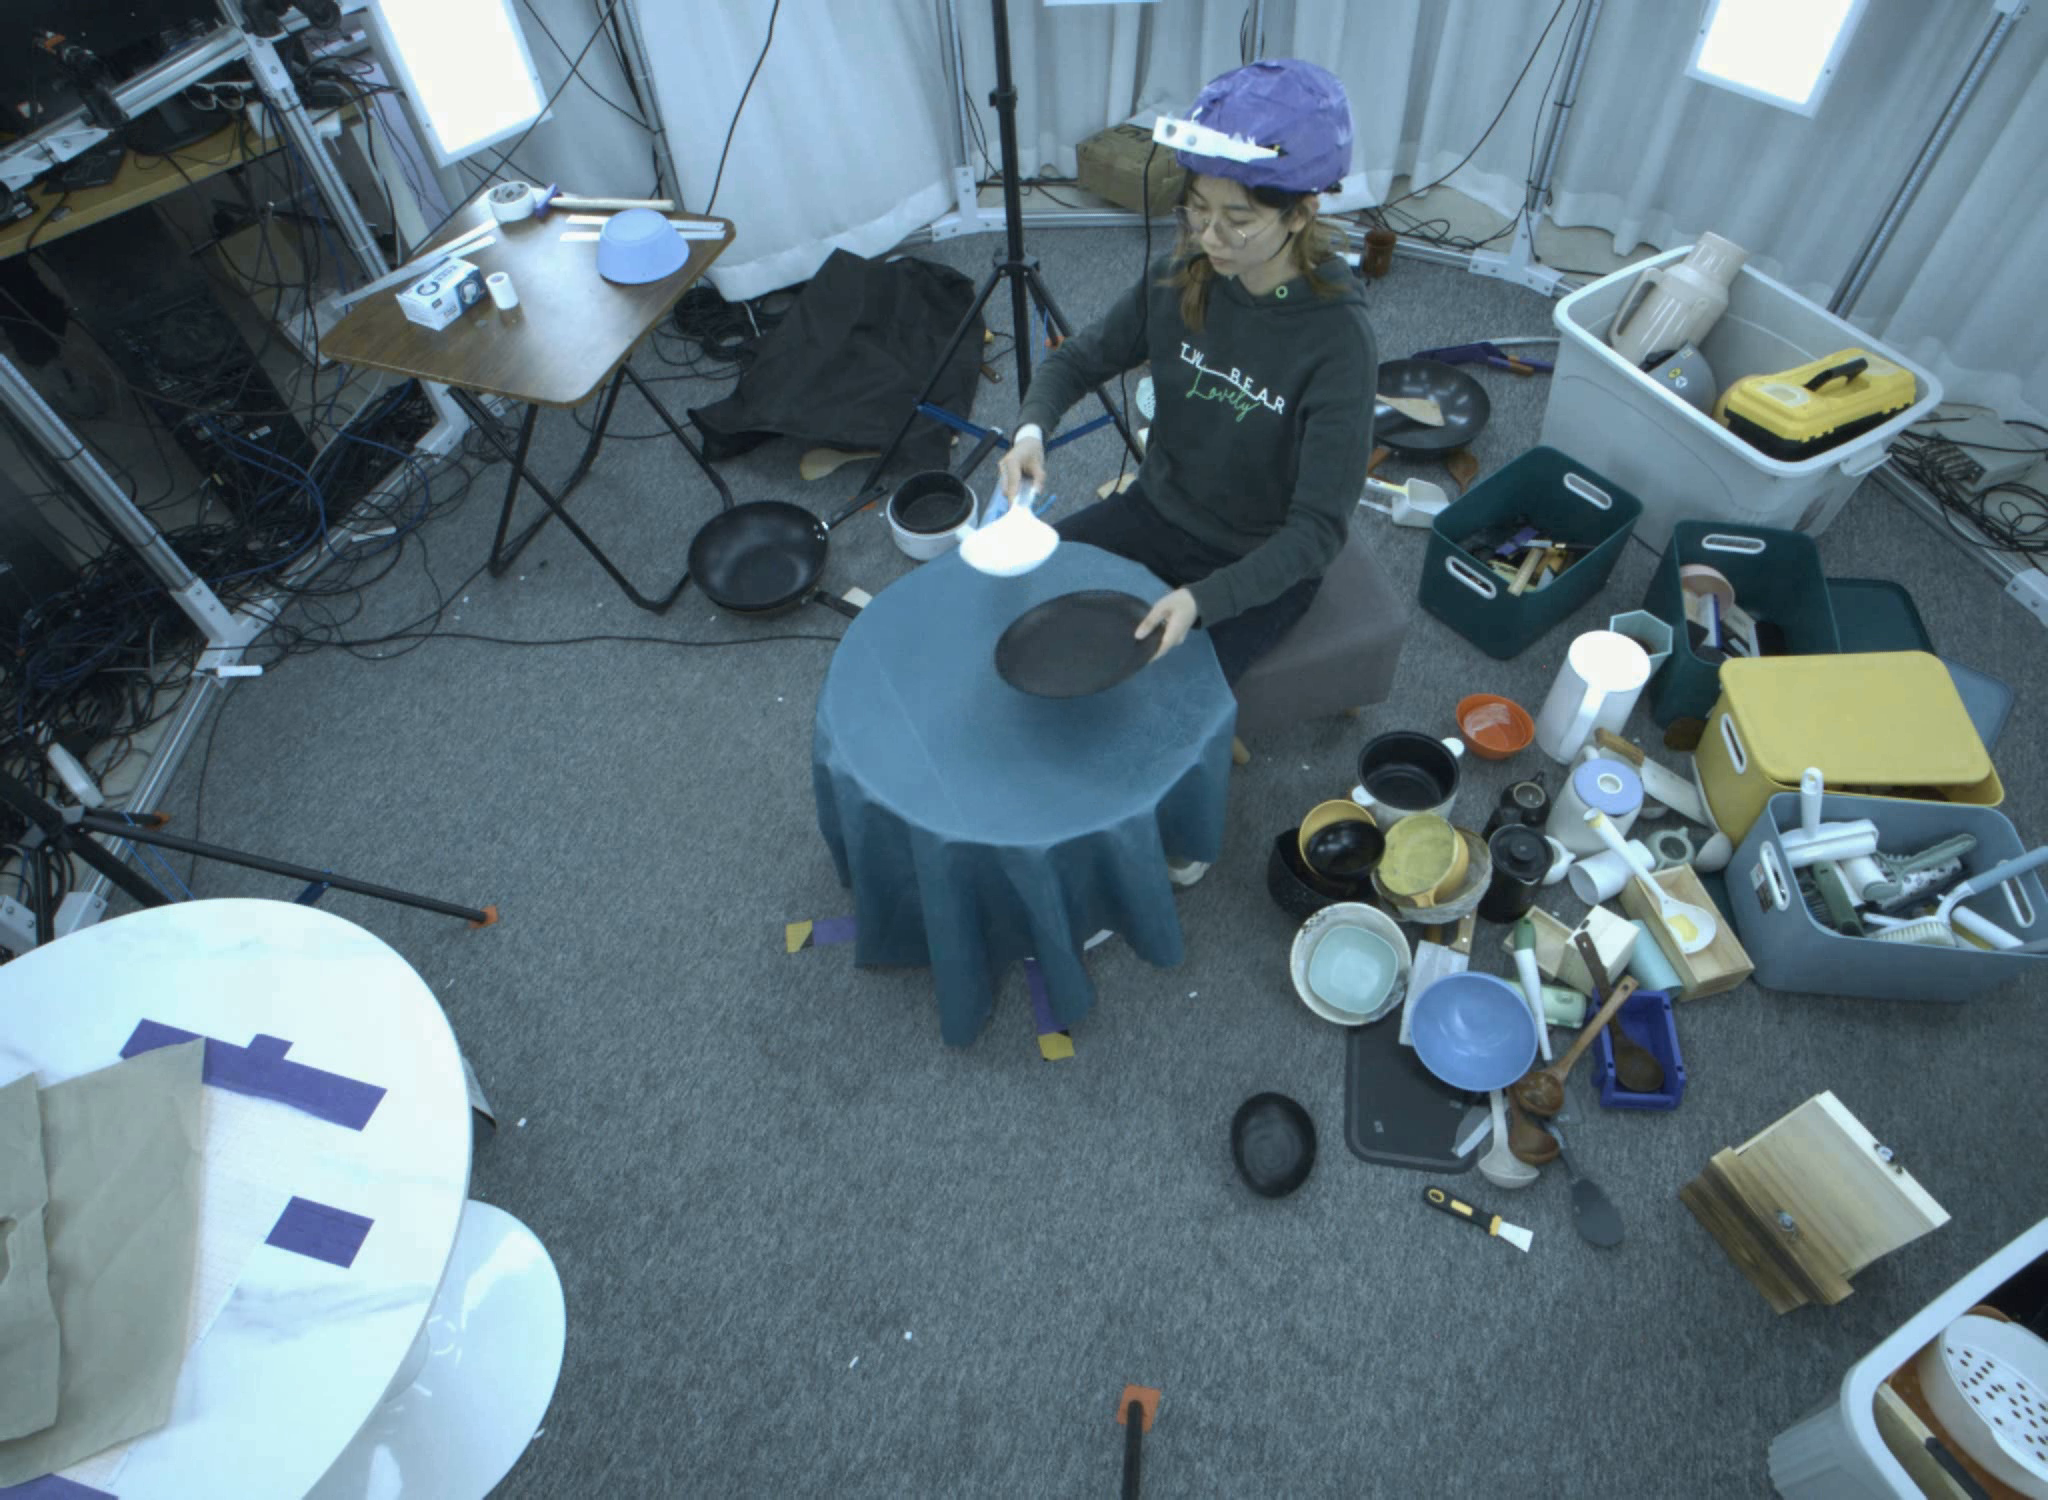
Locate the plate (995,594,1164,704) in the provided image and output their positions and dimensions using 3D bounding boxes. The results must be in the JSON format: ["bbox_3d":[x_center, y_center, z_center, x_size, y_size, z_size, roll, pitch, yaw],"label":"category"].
[{"bbox_3d":[0.079,-0.141,1.748,0.243,0.024,0.242,-8,42,9],"label":"plate"}]

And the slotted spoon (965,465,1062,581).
[{"bbox_3d":[0.000,-0.336,1.778,0.135,0.046,0.347,-1,42,10],"label":"slotted spoon"}]
